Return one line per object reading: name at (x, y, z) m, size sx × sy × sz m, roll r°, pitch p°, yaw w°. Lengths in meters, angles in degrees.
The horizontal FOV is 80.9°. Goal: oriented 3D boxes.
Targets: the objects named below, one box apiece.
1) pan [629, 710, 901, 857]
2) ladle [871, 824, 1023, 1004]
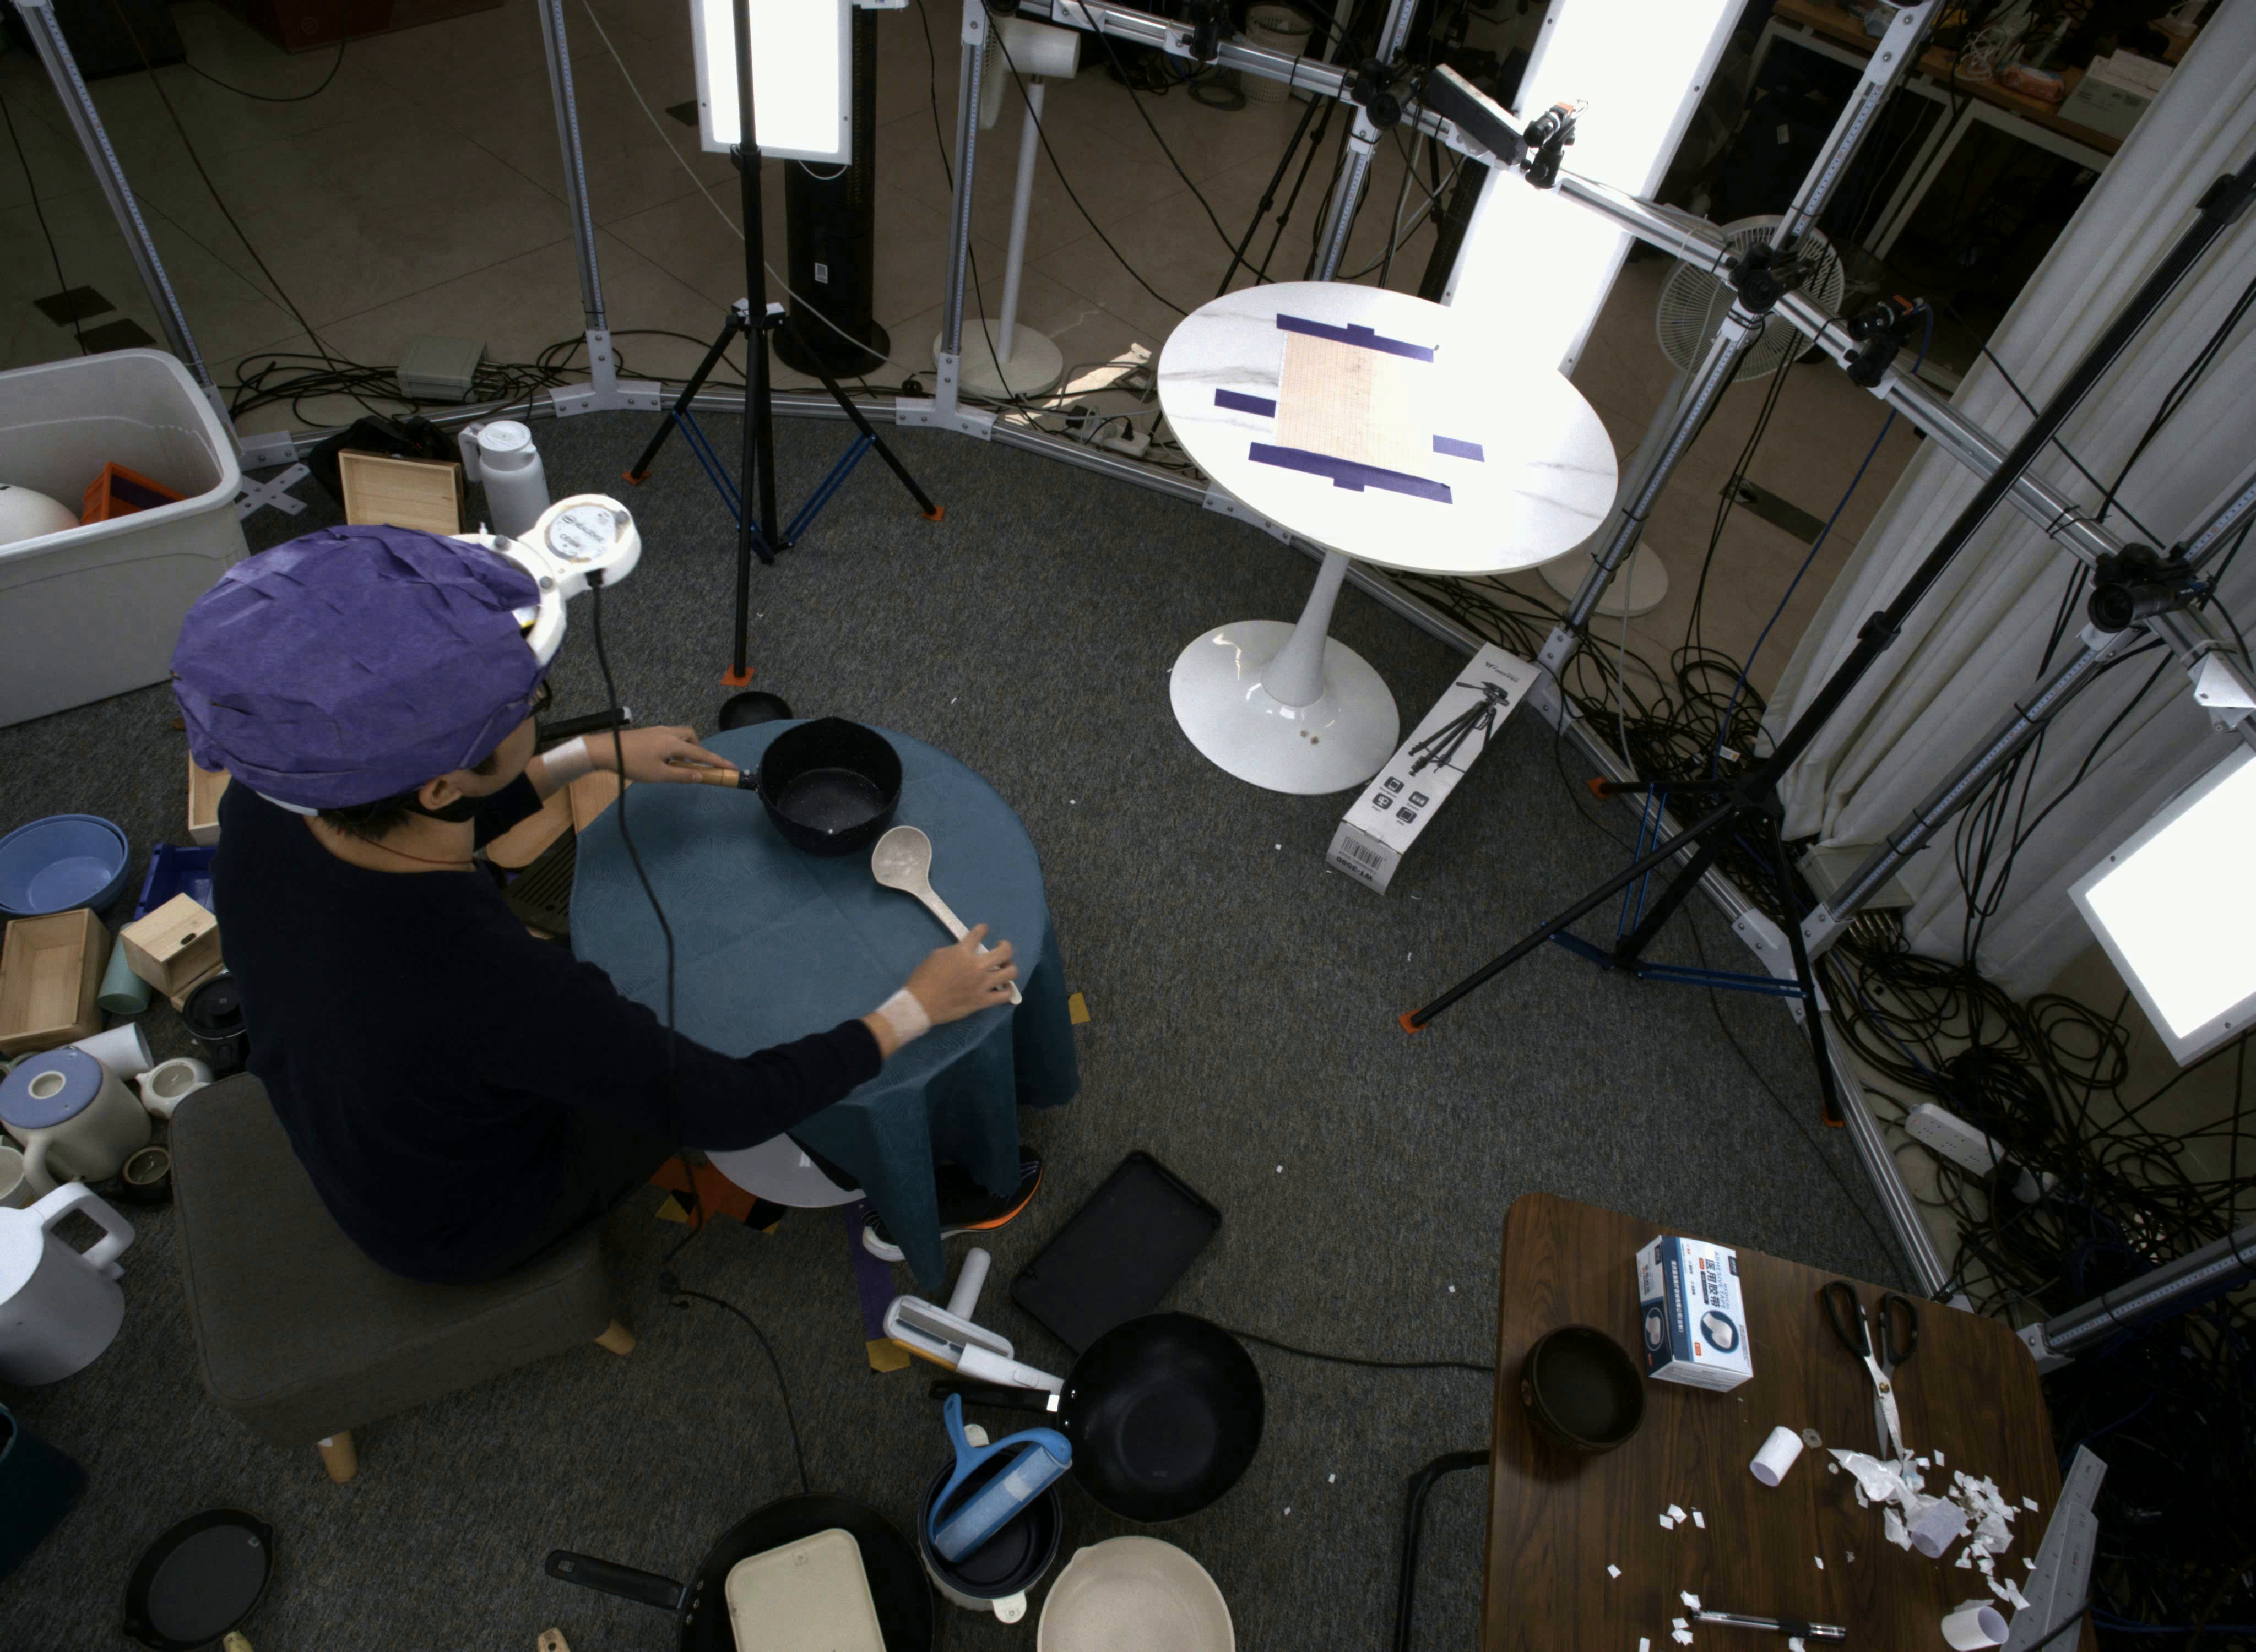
pan at (-0.467, -0.051, 1.671) m, size 0.344 × 0.110 × 0.203 m, roll 0°, pitch 55°, yaw -17°
ladle at (-0.220, 0.109, 1.643) m, size 0.269 × 0.070 × 0.090 m, roll 43°, pitch 49°, yaw 18°
